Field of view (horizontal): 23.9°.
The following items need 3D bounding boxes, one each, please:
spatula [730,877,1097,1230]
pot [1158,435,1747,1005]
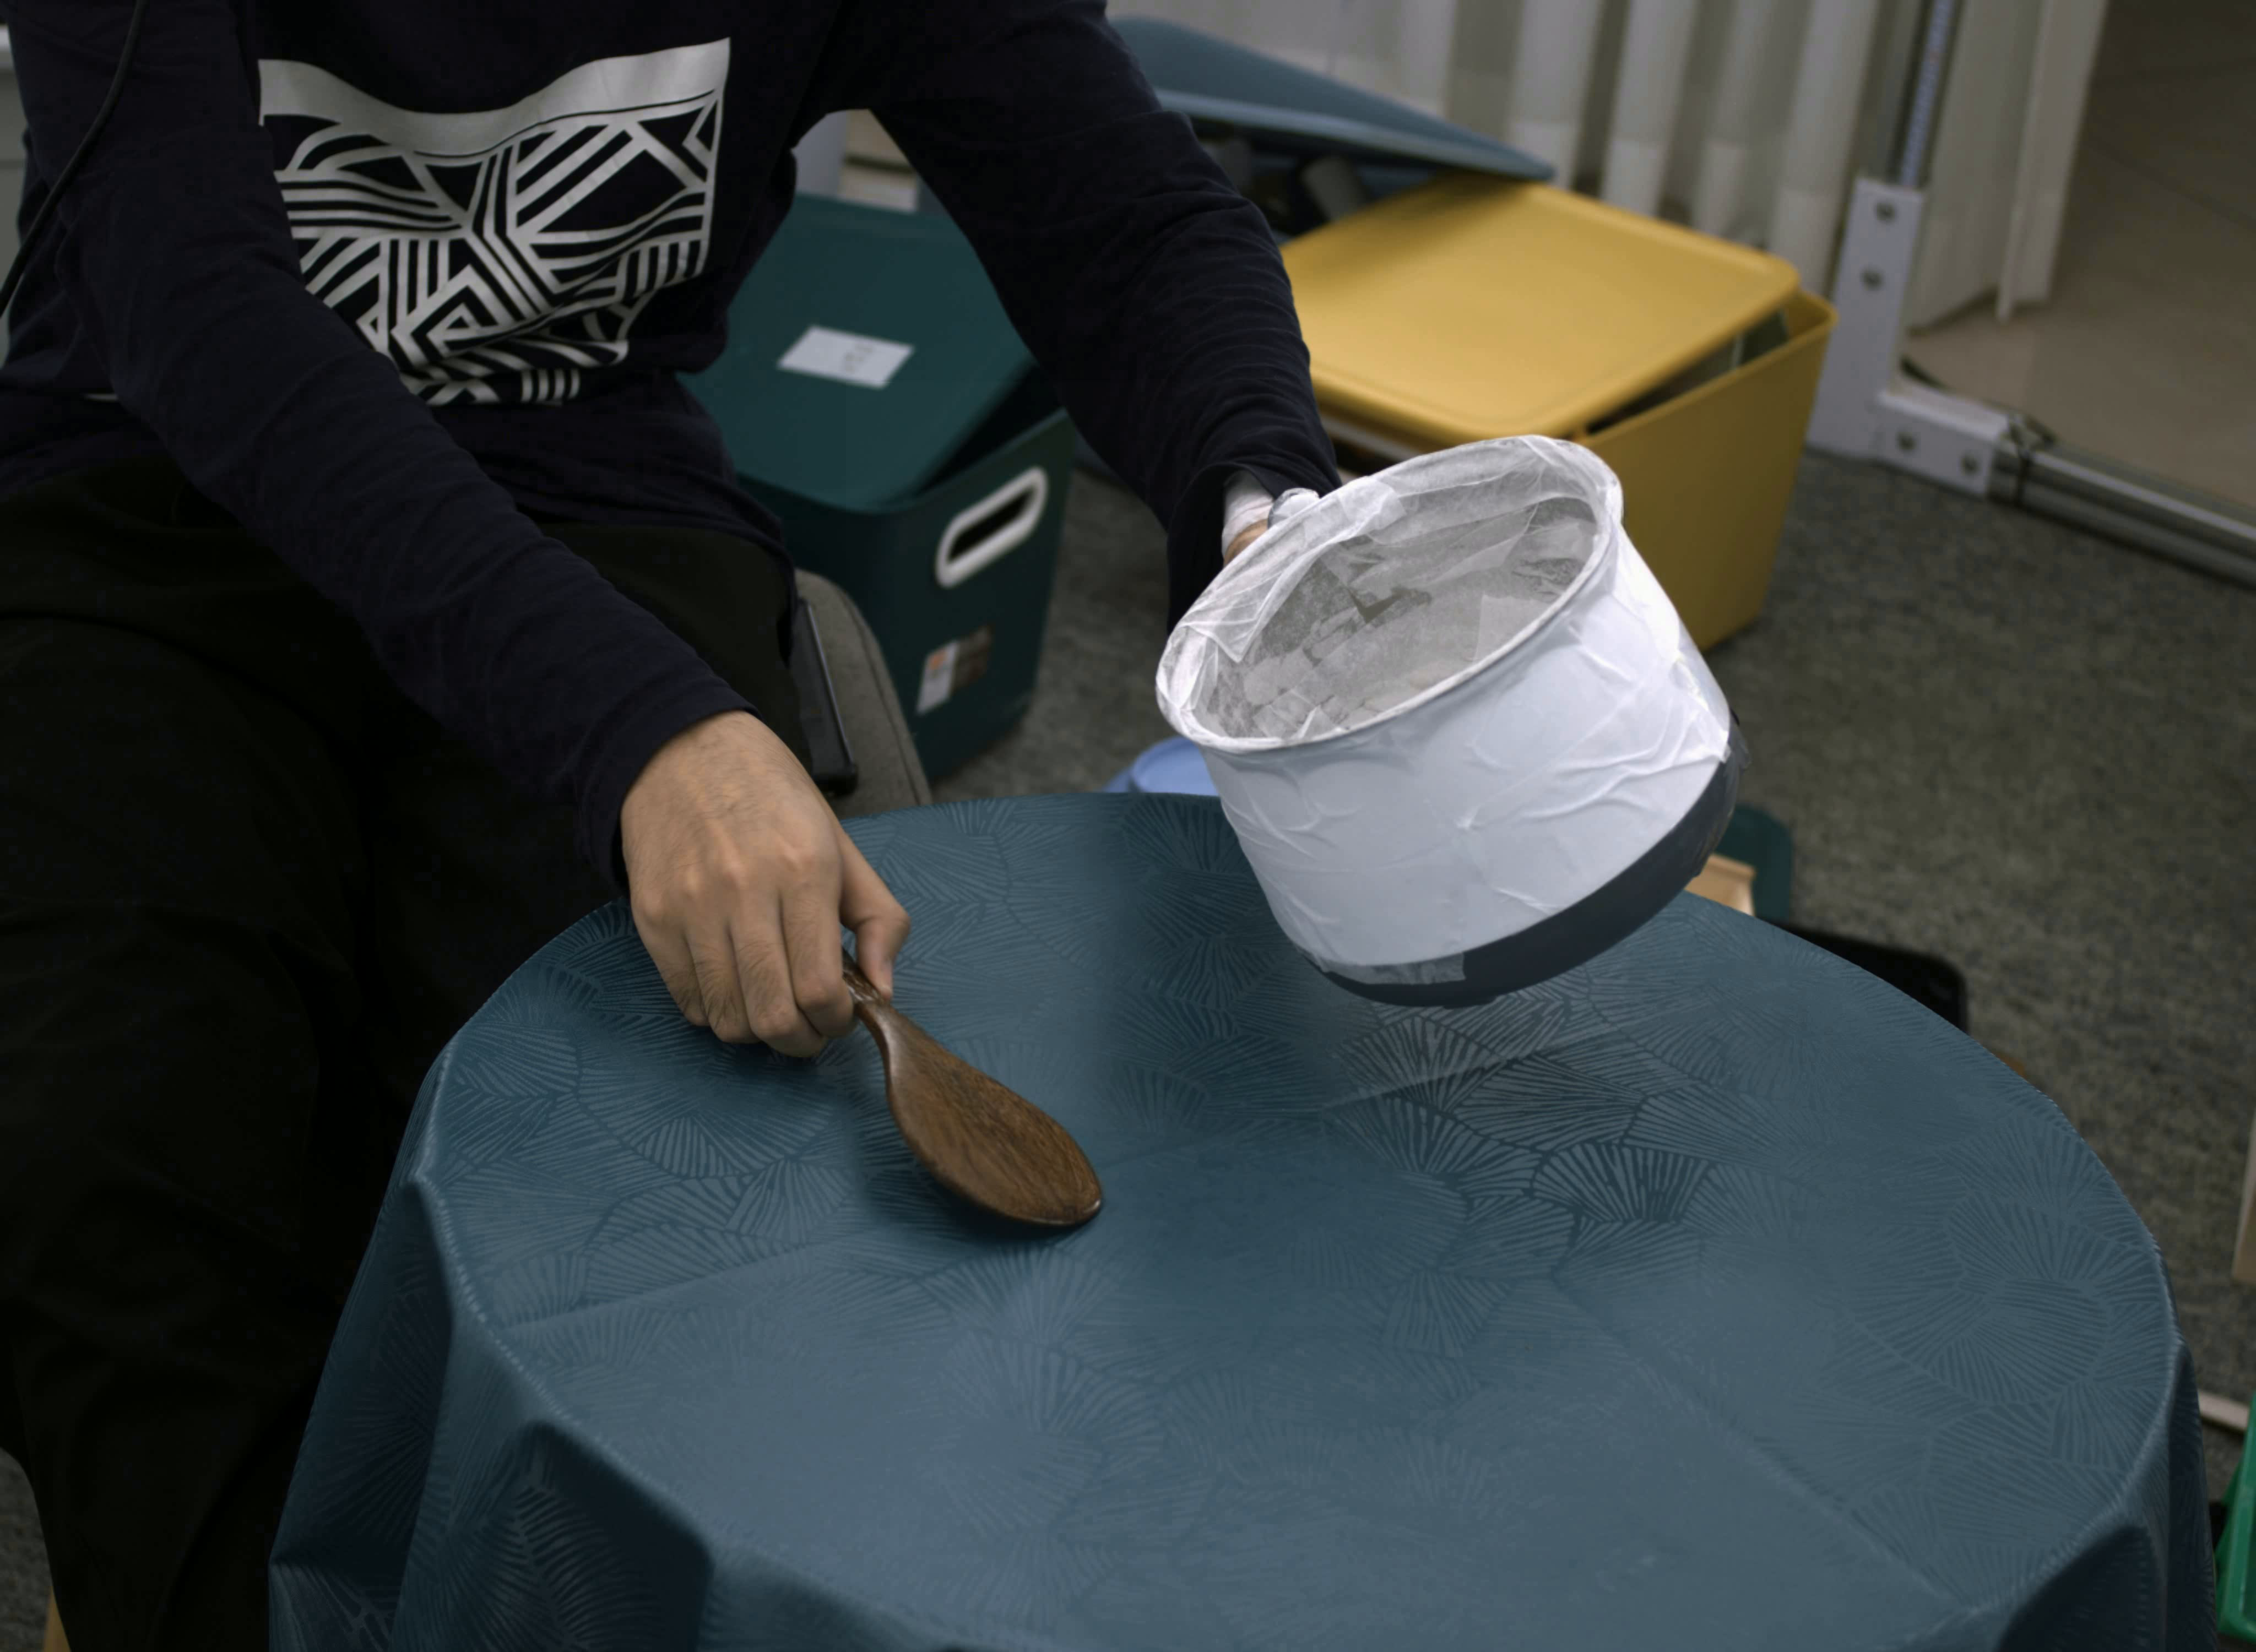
[{"bbox_3d":[-0.081,0.076,1.841,0.071,0.009,0.218,8,26,-40],"label":"spatula"},{"bbox_3d":[0.107,-0.044,1.889,0.178,0.136,0.235,-30,28,-7],"label":"pot"}]
